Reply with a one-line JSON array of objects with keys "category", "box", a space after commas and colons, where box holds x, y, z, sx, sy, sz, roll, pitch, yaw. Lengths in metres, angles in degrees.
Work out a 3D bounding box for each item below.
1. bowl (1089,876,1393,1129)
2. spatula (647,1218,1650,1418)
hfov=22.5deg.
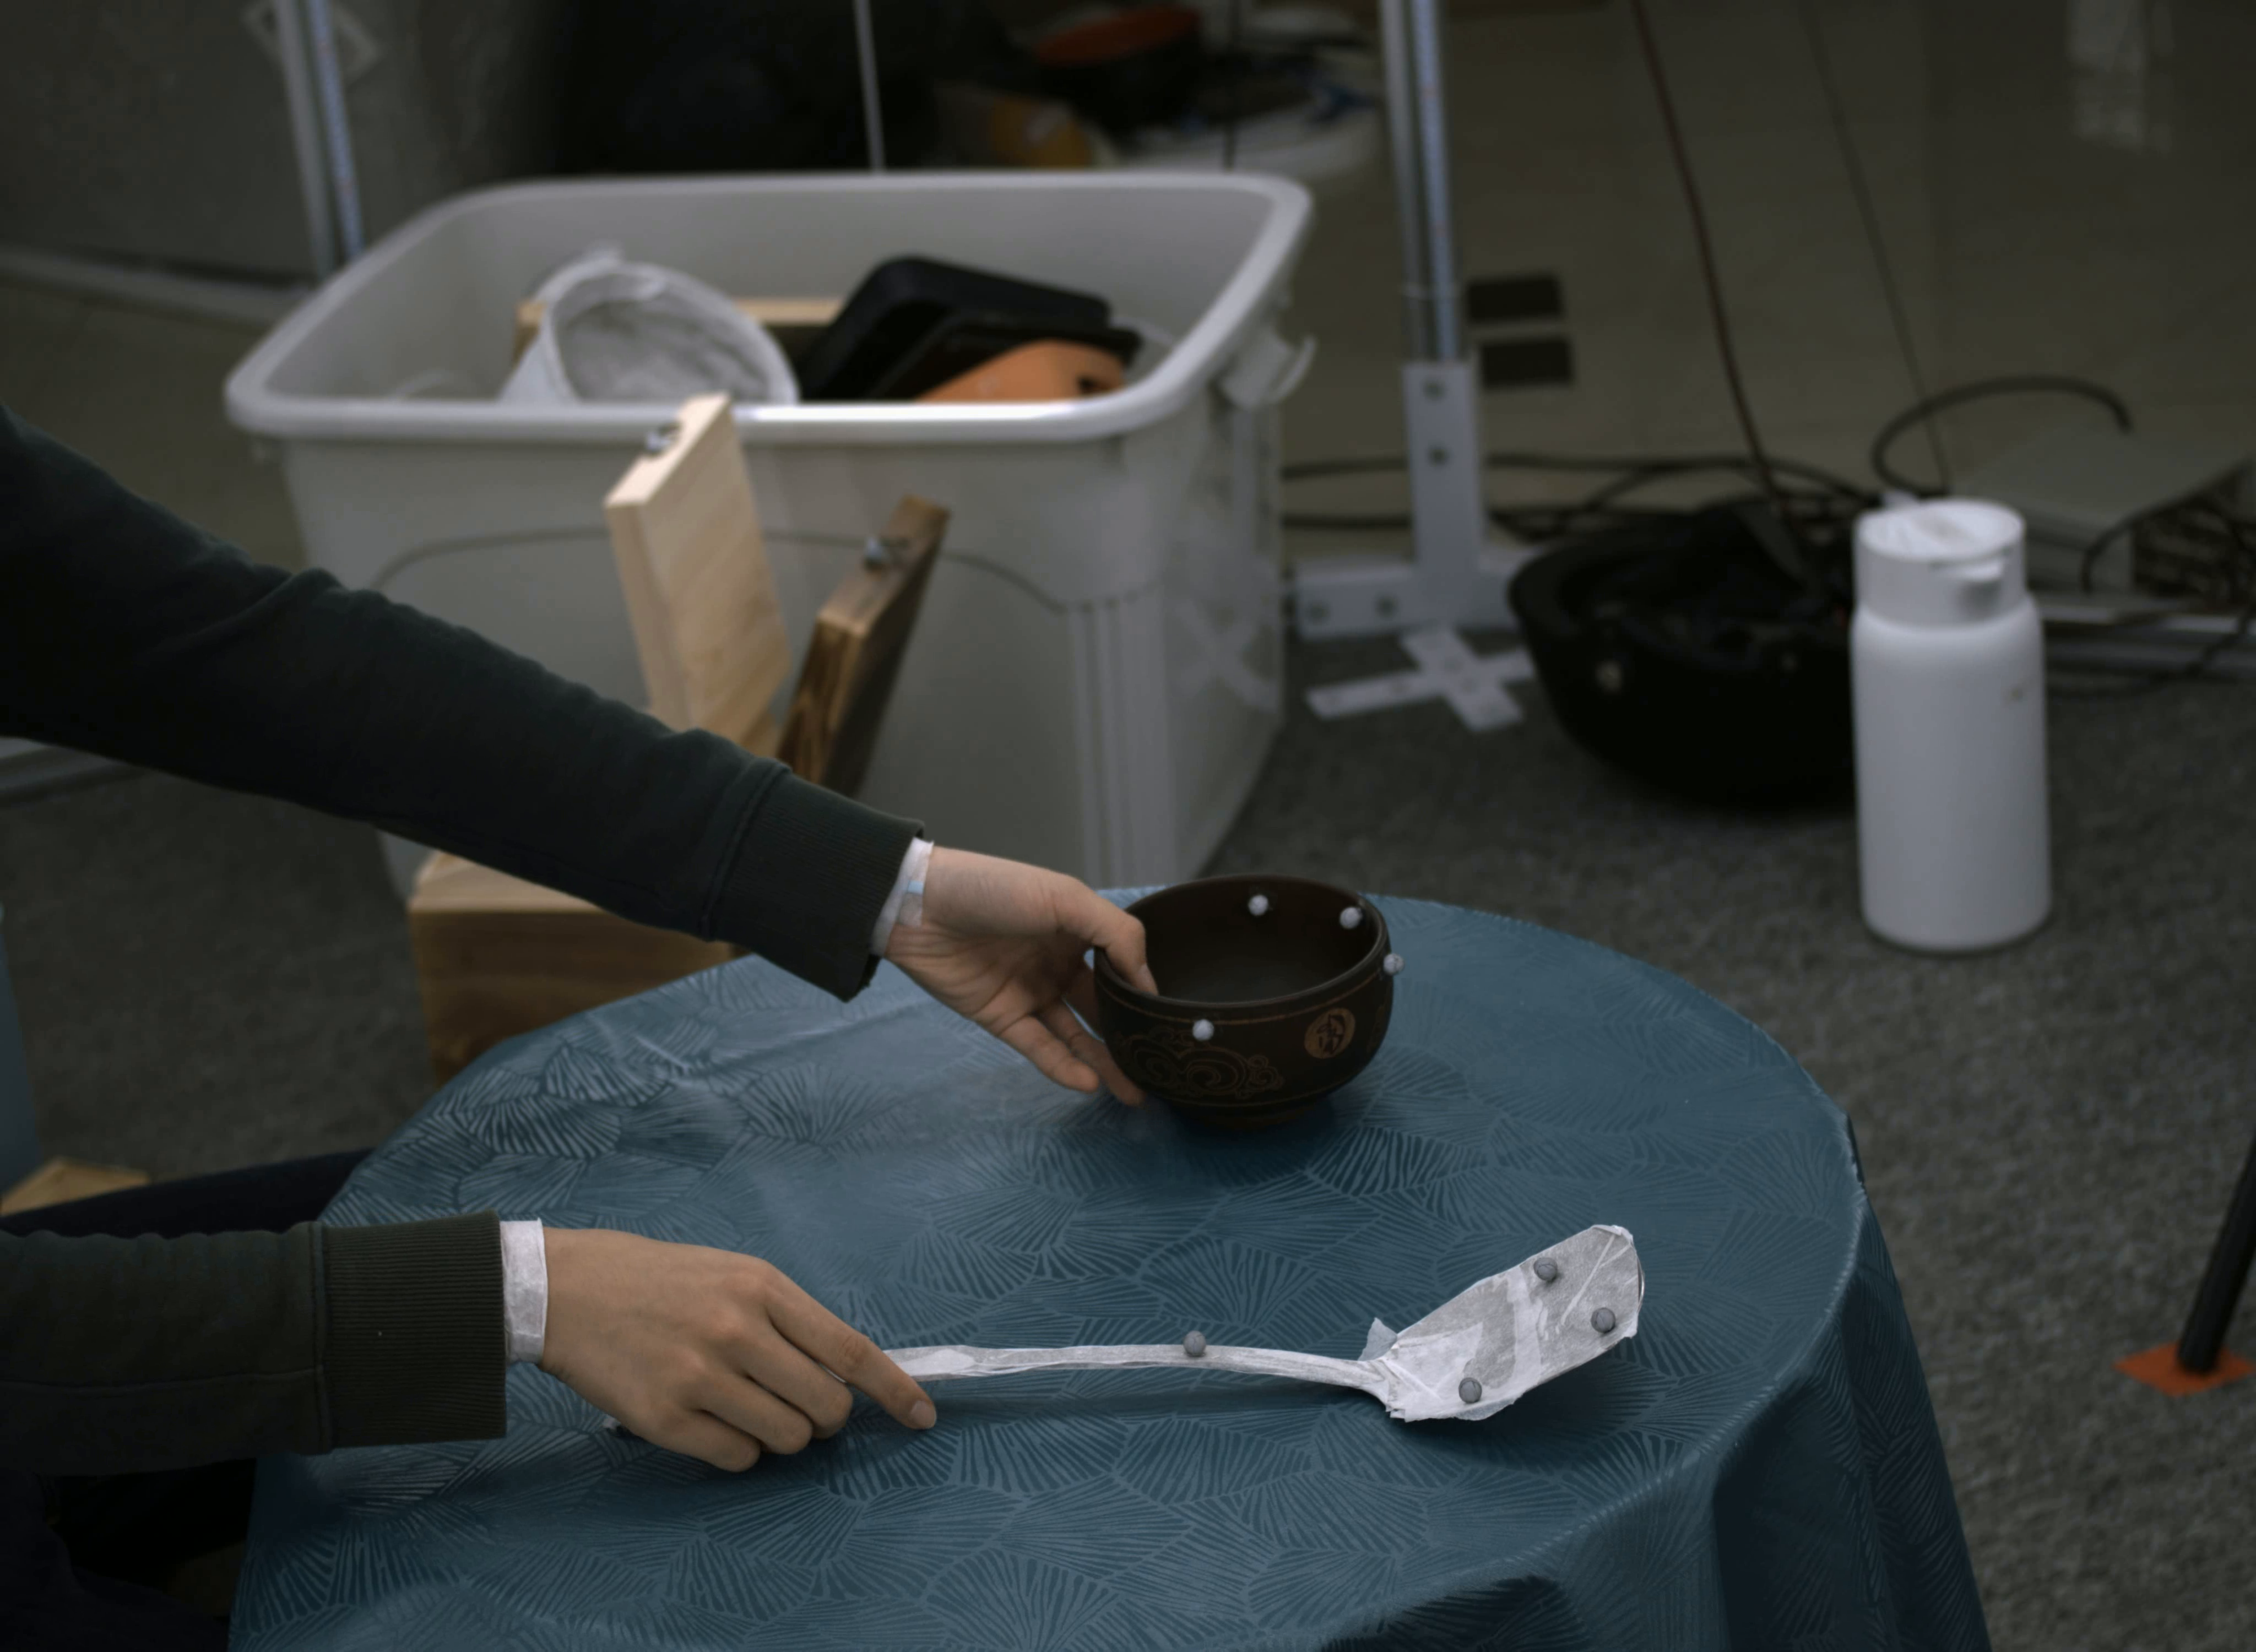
[{"category": "bowl", "box": [0.045, 0.074, 2.195, 0.118, 0.071, 0.116, -6, 24, 3]}, {"category": "spatula", "box": [0.003, 0.183, 2.009, 0.364, 0.045, 0.097, -2, 26, 7]}]
